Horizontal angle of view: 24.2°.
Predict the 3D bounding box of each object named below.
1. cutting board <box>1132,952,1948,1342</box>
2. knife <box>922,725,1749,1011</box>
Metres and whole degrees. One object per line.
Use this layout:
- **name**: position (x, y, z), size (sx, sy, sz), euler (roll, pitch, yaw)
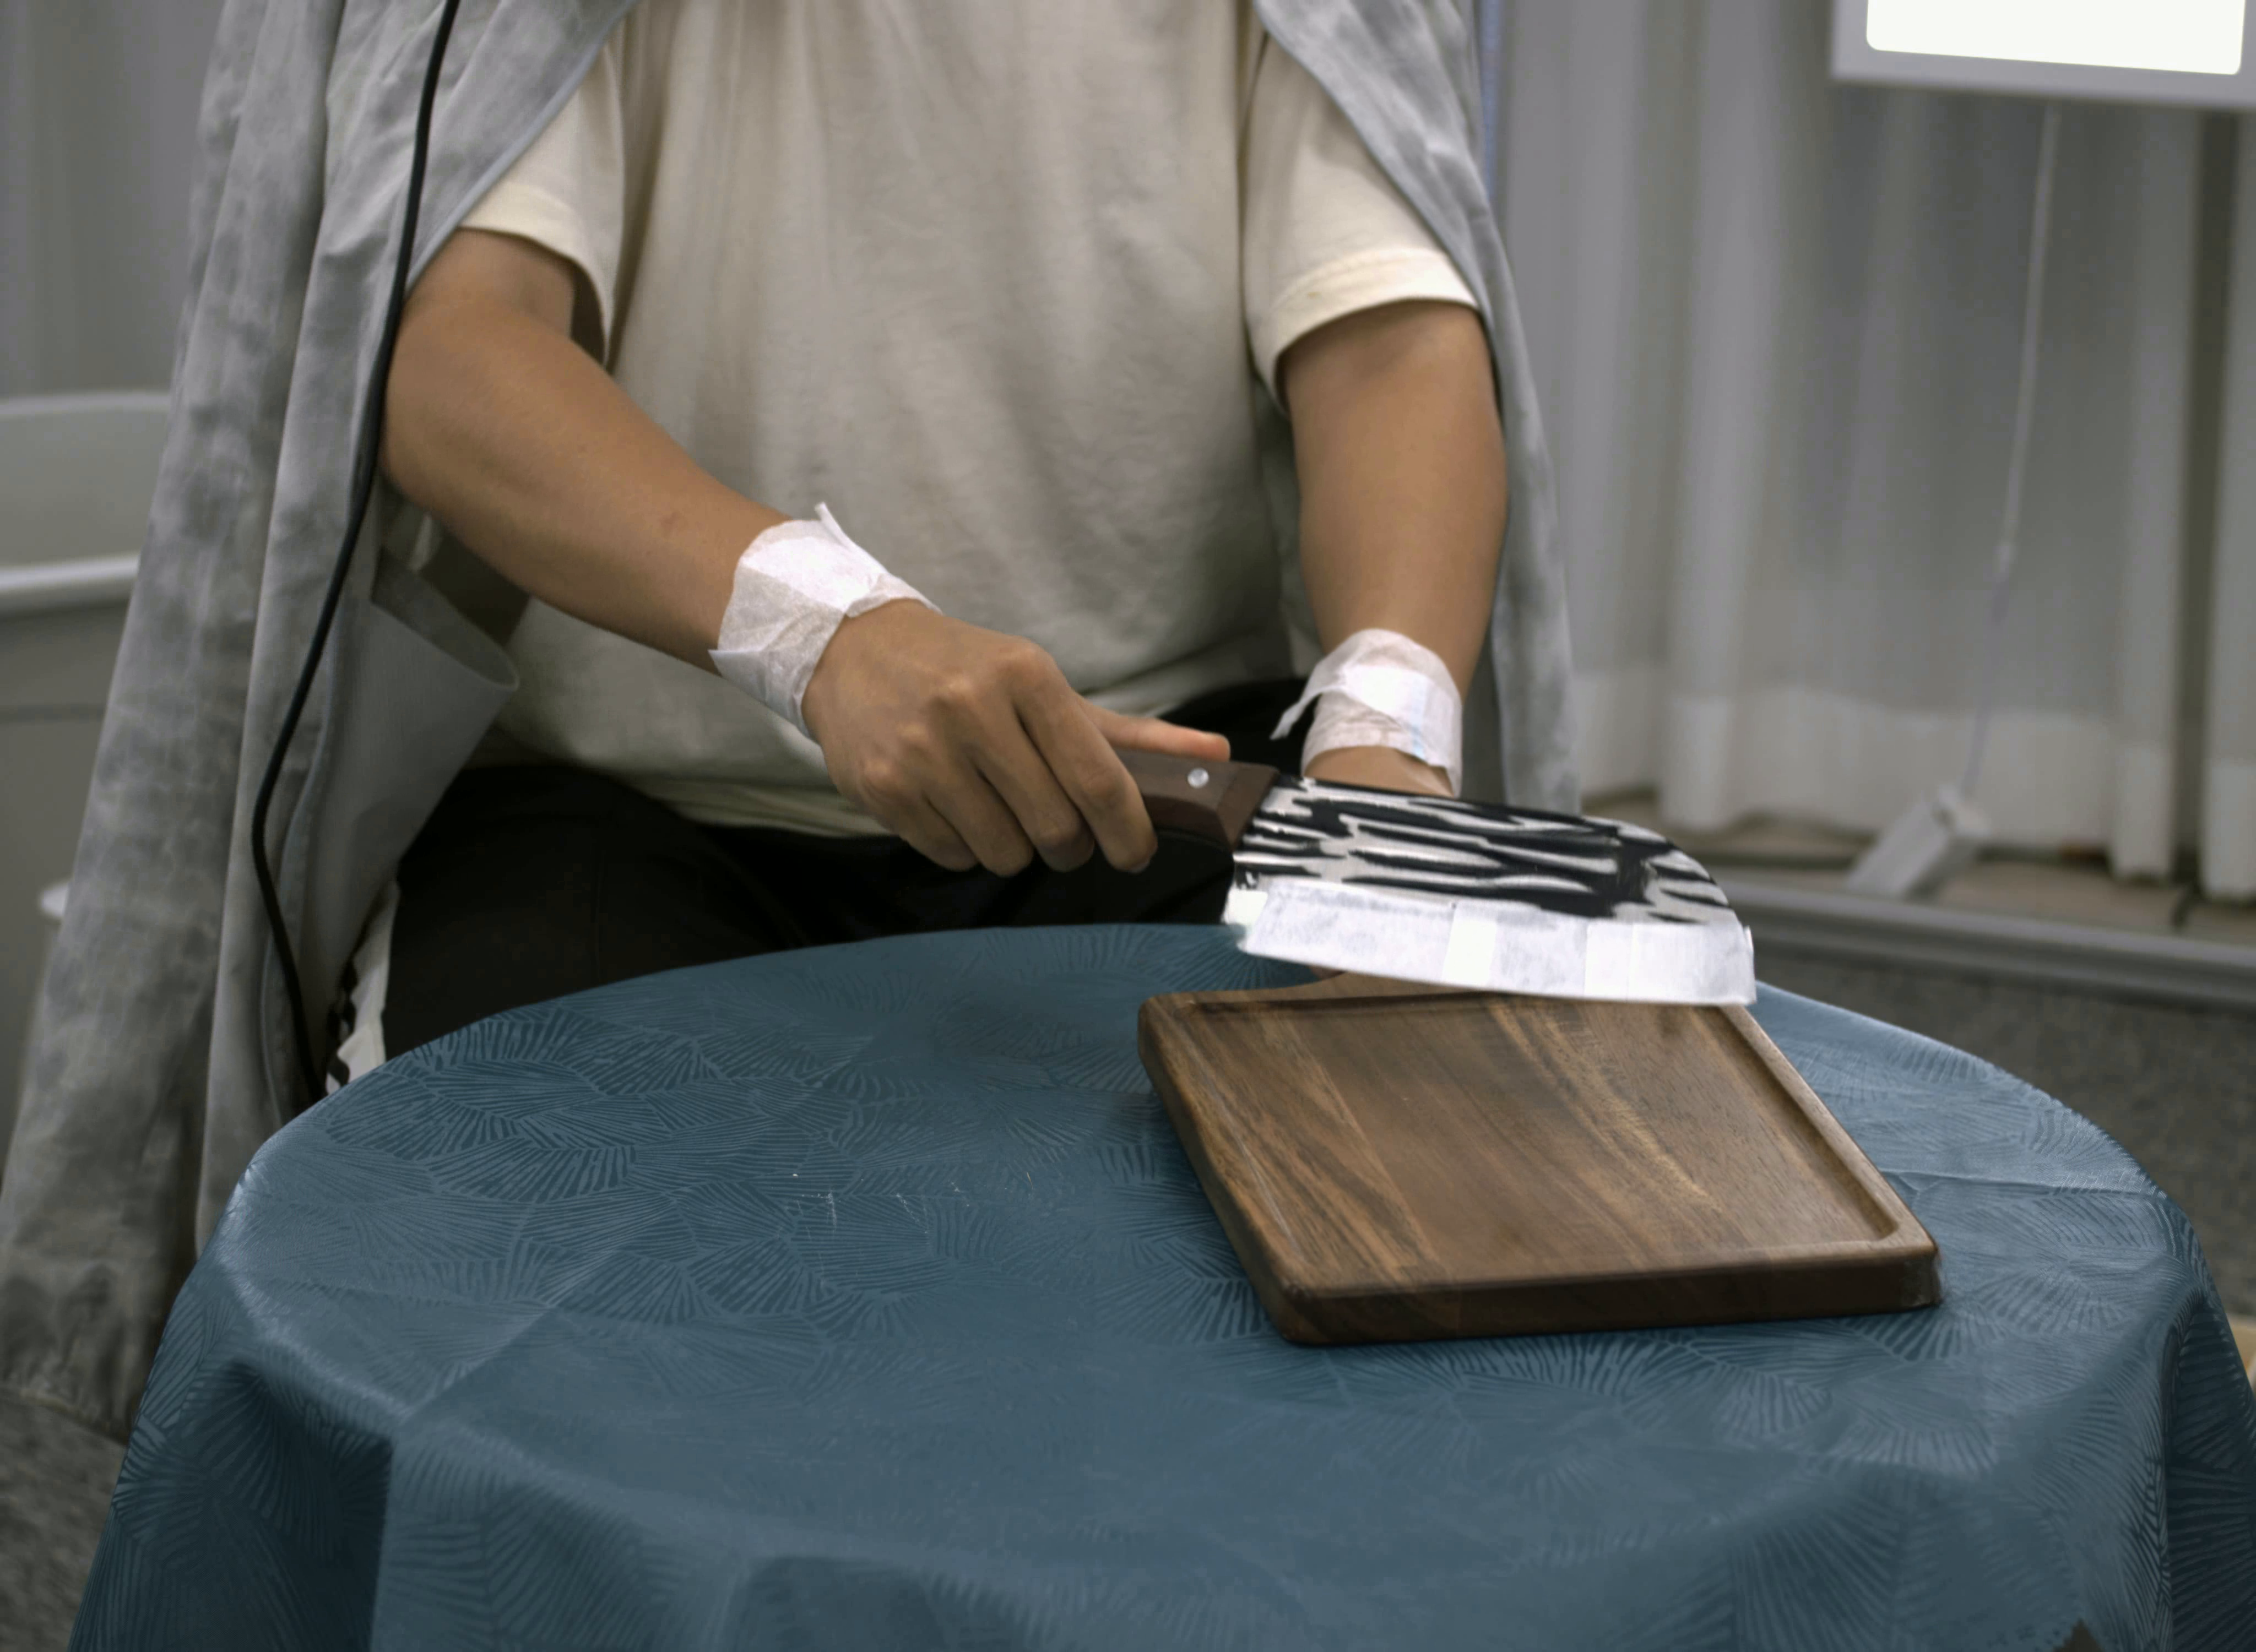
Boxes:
- **cutting board**: position (0.111, 0.082, 1.670), size (0.201, 0.023, 0.349), euler (-2, 18, -11)
- **knife**: position (0.061, 0.014, 1.678), size (0.296, 0.024, 0.068), euler (10, 61, 22)
